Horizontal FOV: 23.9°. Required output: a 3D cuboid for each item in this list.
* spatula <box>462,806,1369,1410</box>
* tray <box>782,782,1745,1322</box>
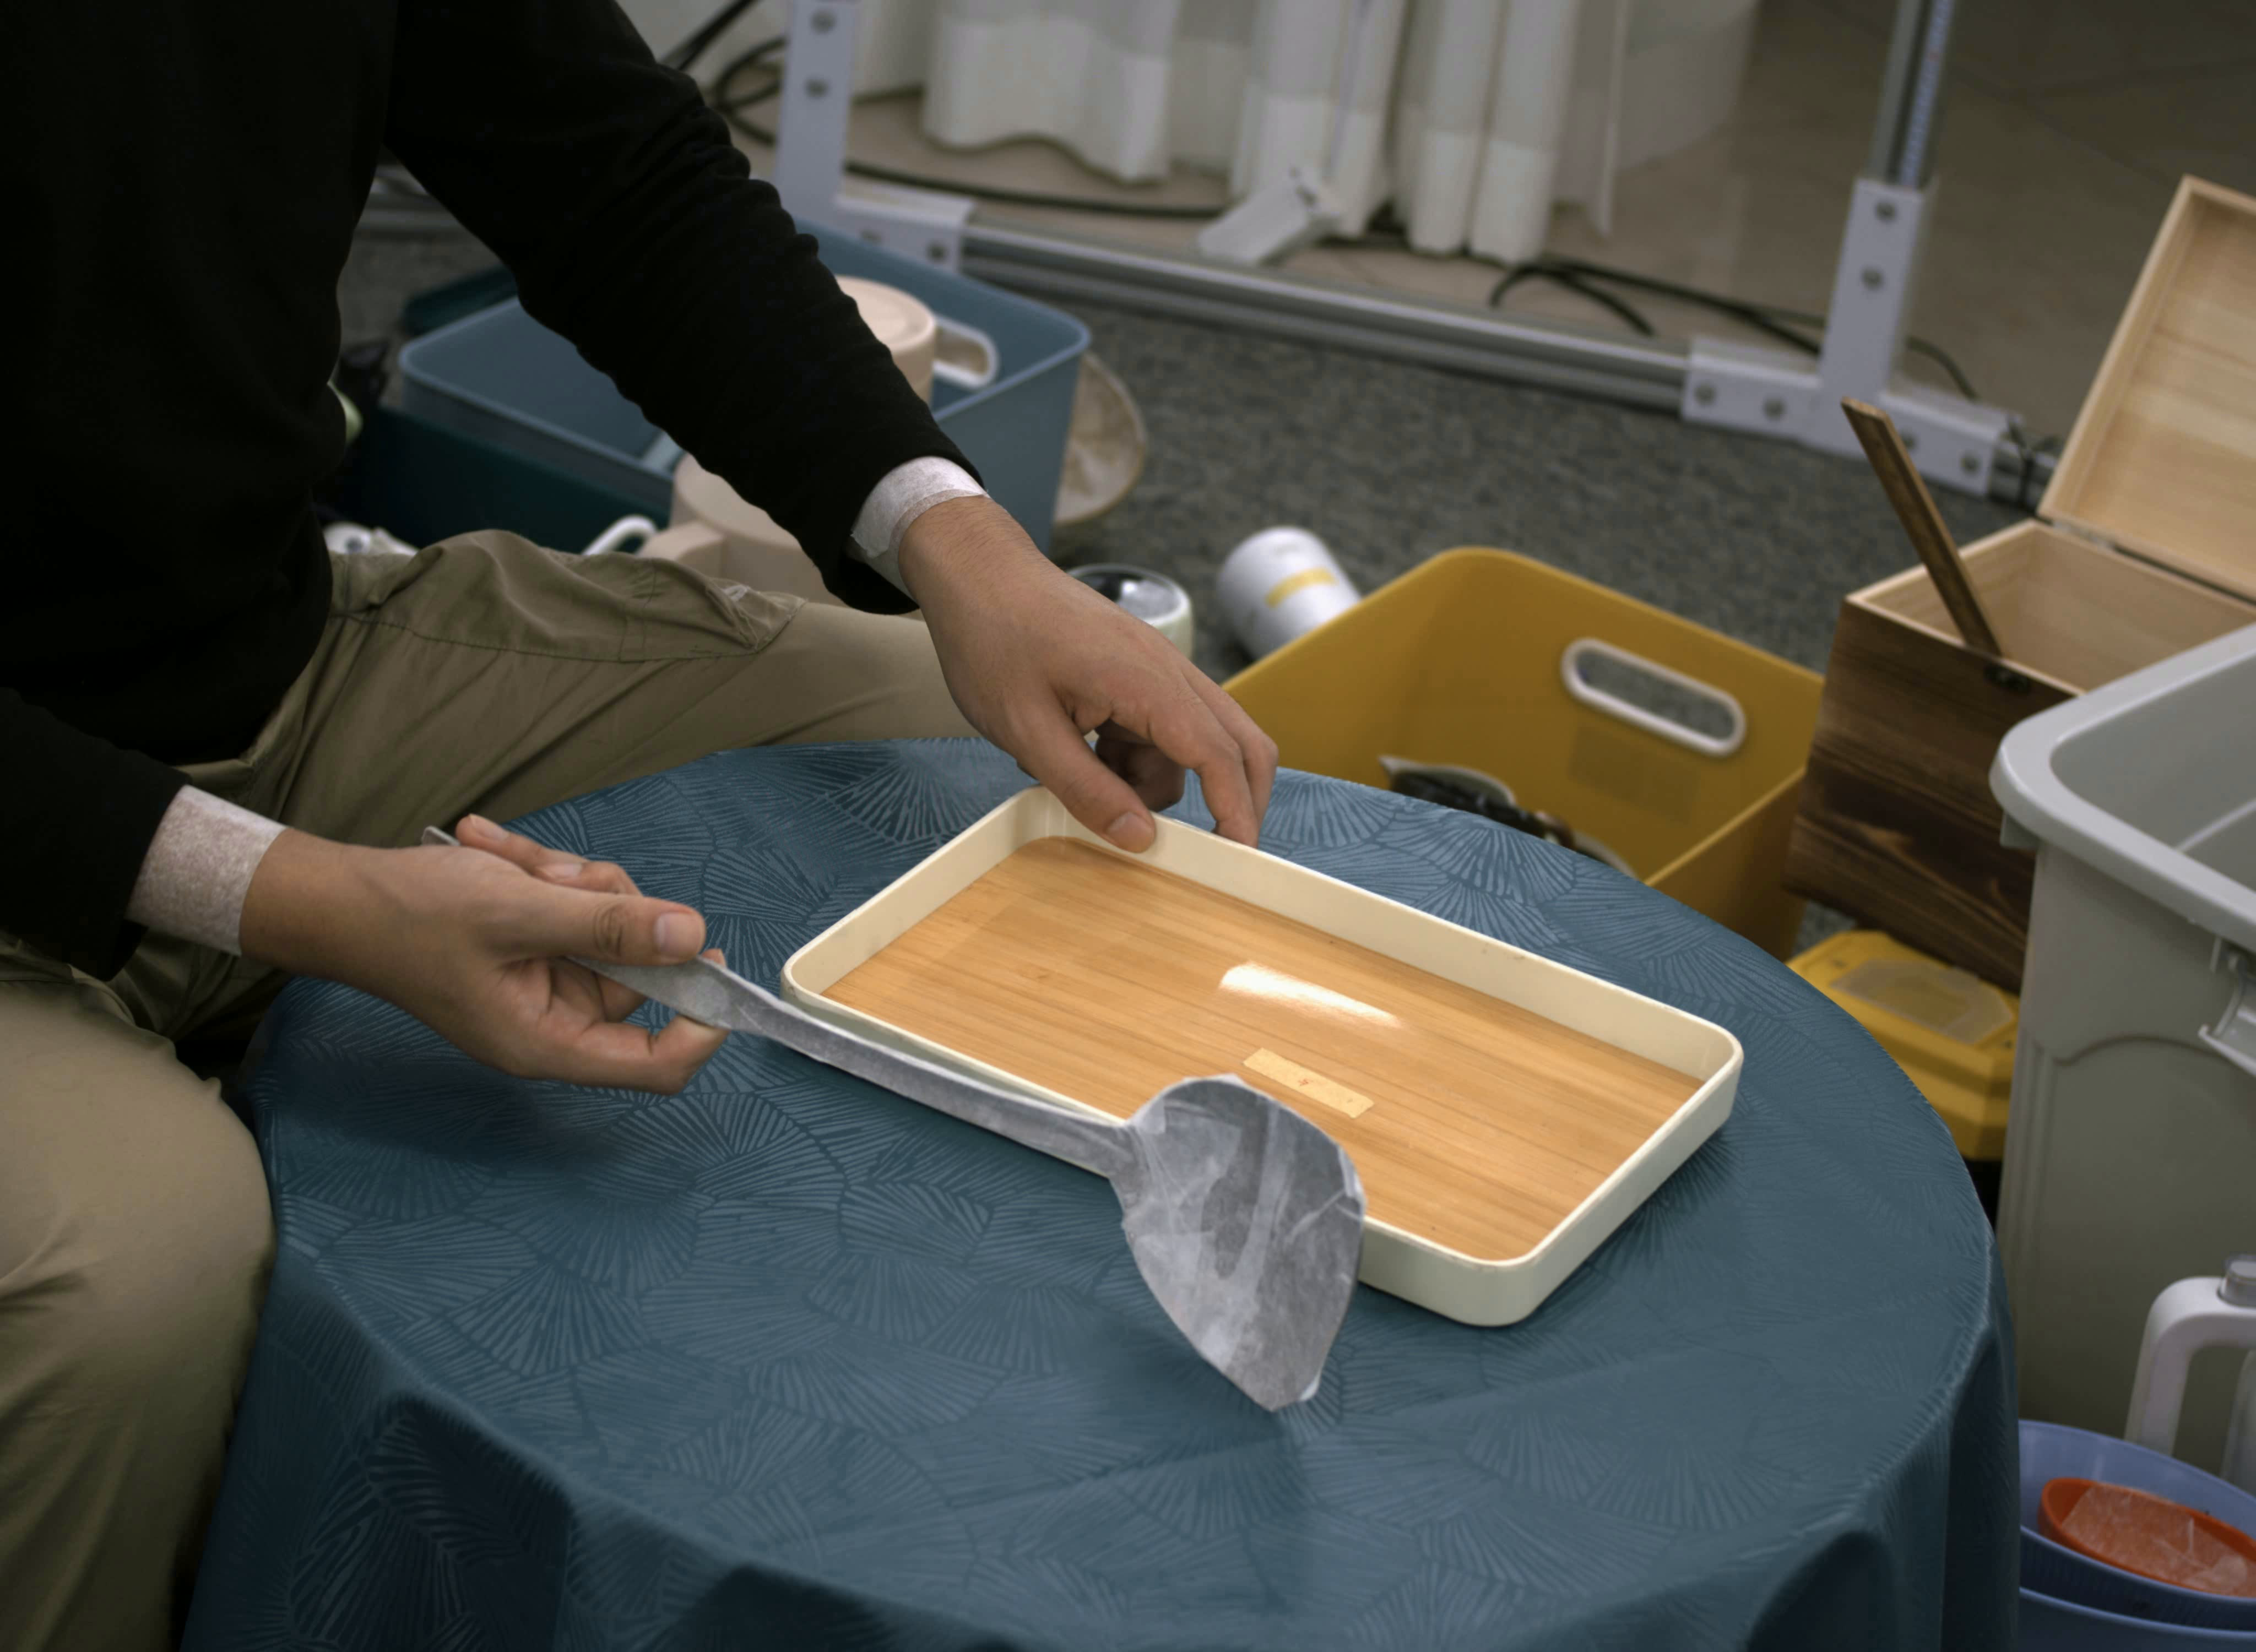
[{"bbox_3d":[-0.079,0.076,1.736,0.366,0.098,0.044,23,24,19],"label":"spatula"},{"bbox_3d":[0.047,0.074,1.869,0.302,0.027,0.191,21,33,26],"label":"tray"}]
